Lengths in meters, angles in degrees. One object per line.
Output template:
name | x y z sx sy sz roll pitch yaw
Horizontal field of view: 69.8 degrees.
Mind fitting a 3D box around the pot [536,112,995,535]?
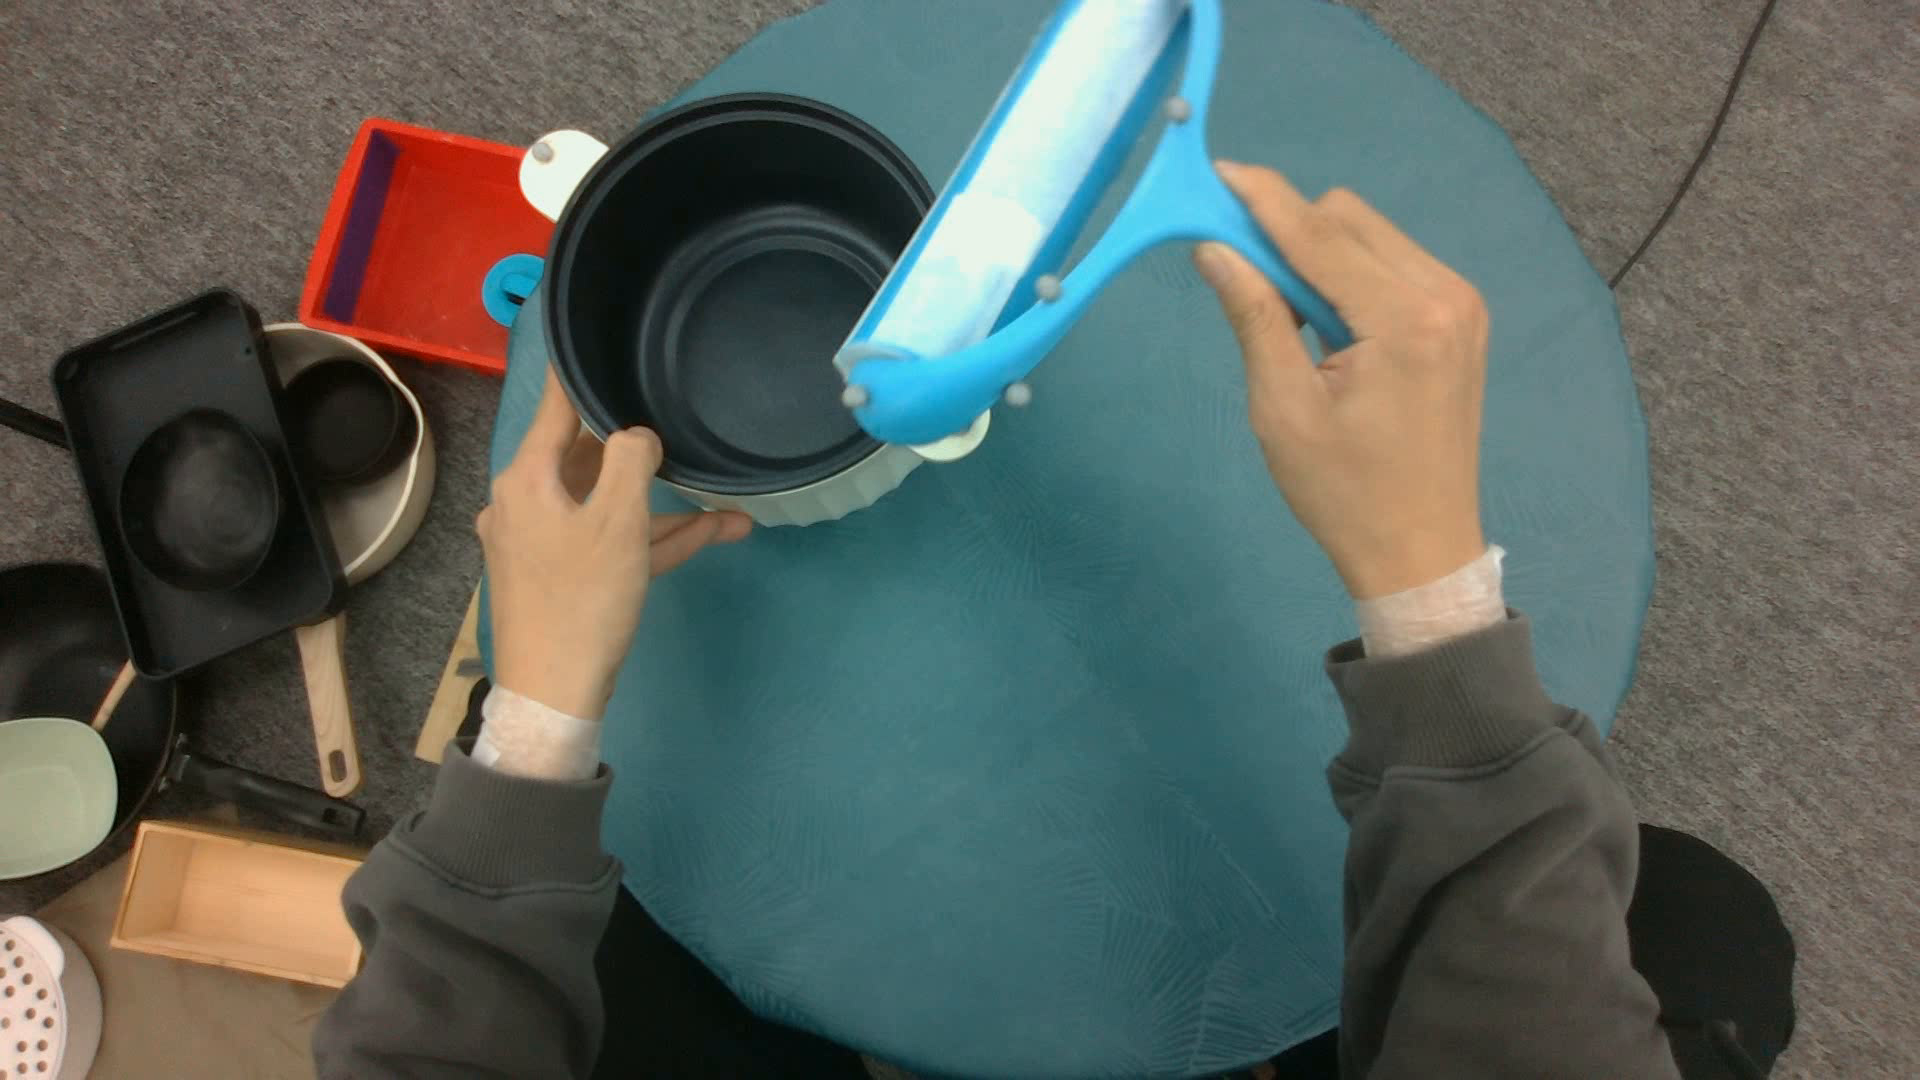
pot | -0.083 -0.100 0.674 0.240 0.142 0.190 32 86 7

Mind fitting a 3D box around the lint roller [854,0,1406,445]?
lint roller | 0.084 -0.108 0.509 0.180 0.067 0.230 24 68 16
